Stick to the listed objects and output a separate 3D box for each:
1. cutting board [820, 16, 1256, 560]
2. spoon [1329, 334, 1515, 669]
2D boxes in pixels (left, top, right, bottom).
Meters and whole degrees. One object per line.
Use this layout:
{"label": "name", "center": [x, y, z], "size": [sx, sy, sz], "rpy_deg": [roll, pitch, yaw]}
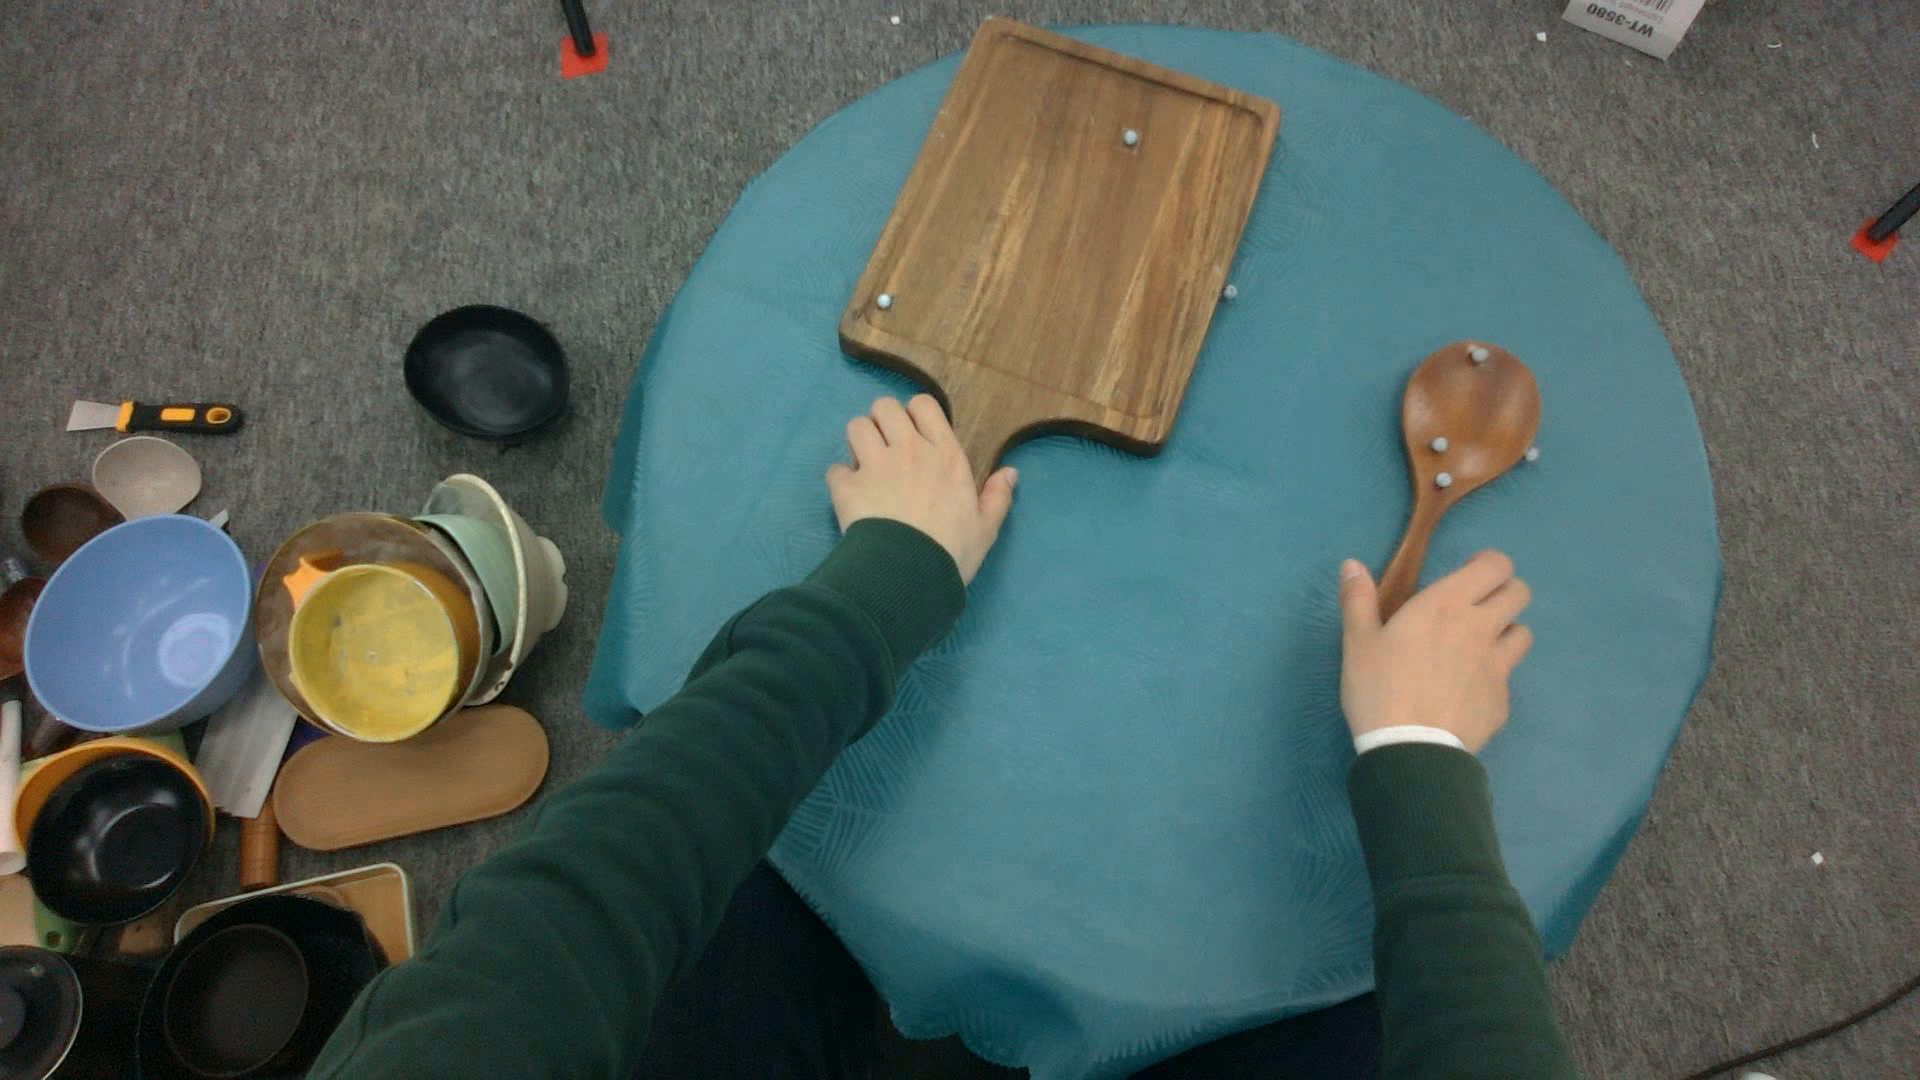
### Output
{"label": "cutting board", "center": [0.035, -0.147, 0.794], "size": [0.201, 0.023, 0.353], "rpy_deg": [19, 67, 5]}
{"label": "spoon", "center": [0.246, -0.024, 0.752], "size": [0.075, 0.017, 0.216], "rpy_deg": [25, 67, 6]}
